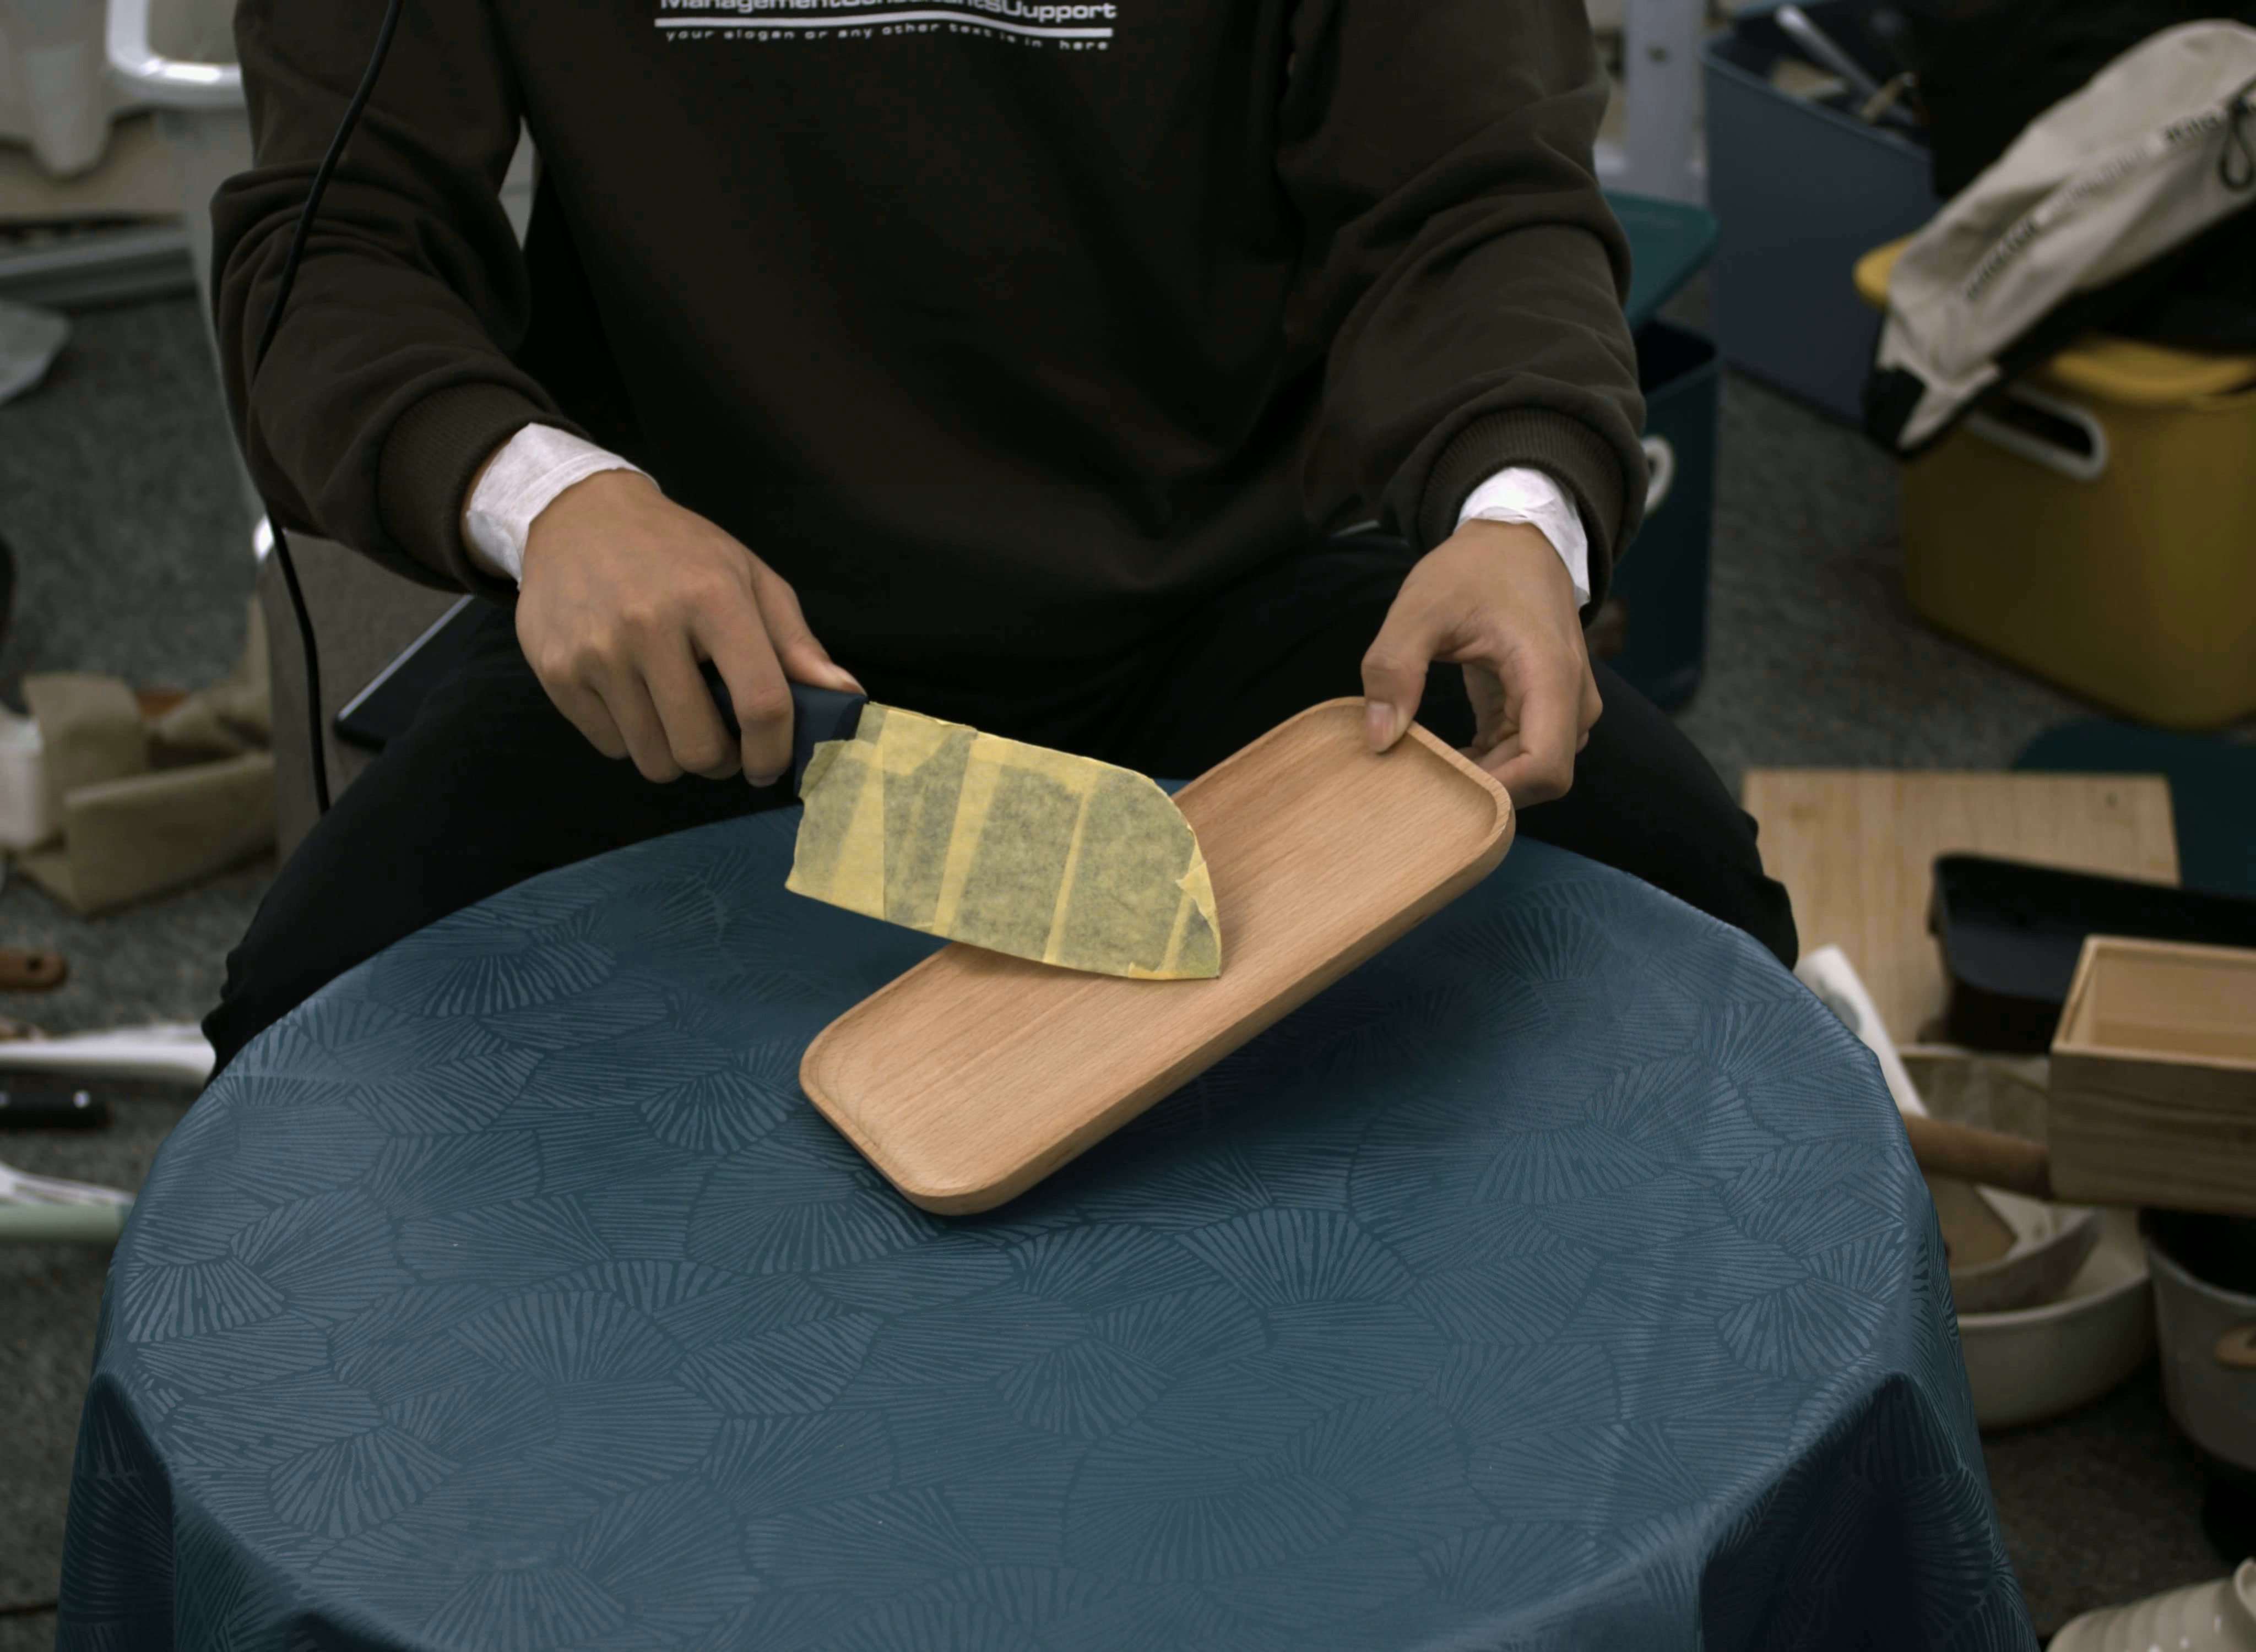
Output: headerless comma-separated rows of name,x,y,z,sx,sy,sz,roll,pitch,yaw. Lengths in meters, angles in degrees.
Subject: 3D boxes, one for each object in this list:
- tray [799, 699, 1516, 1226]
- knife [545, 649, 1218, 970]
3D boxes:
tray,0.011,0.045,1.911,0.252,0.022,0.131,-34,34,-14
knife,-0.089,-0.008,1.959,0.288,0.081,0.027,18,0,29
